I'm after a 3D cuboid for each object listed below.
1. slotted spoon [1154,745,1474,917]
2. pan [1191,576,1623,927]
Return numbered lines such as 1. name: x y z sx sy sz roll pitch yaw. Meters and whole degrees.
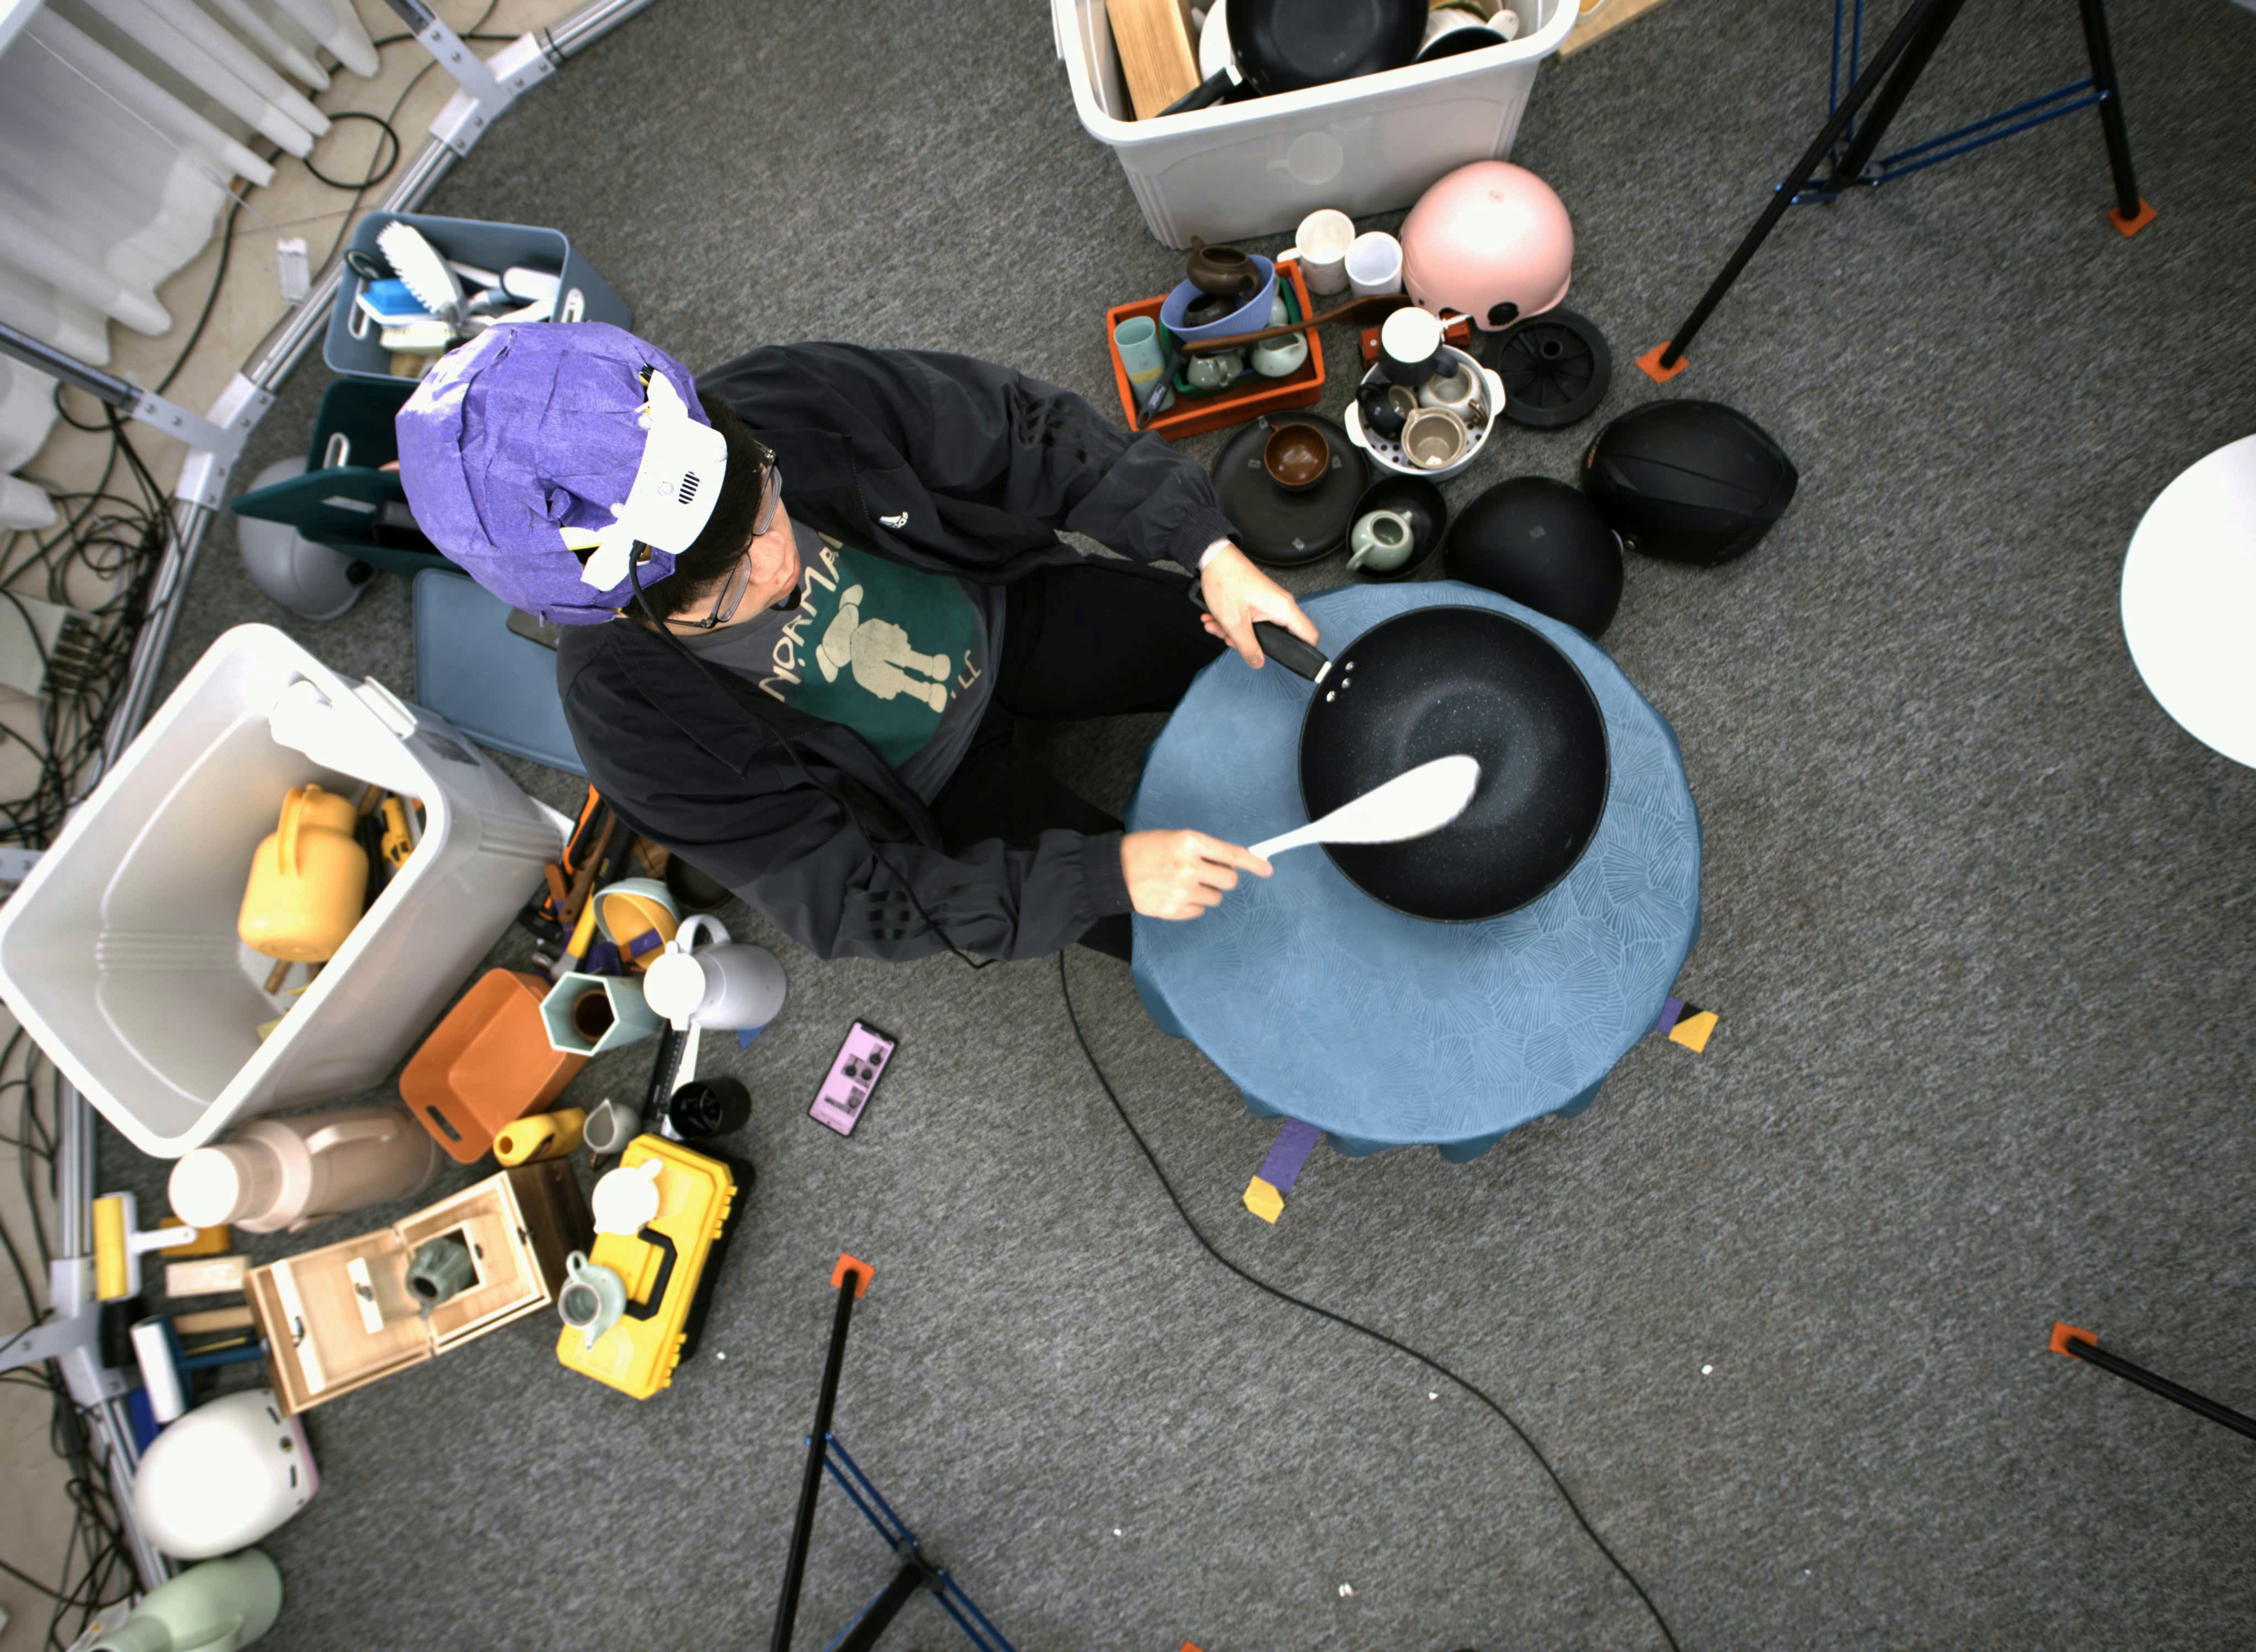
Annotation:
1. slotted spoon: 0.183 0.010 1.356 0.349 0.138 0.049 -20 74 4
2. pan: 0.266 -0.110 1.368 0.474 0.110 0.316 39 114 19
